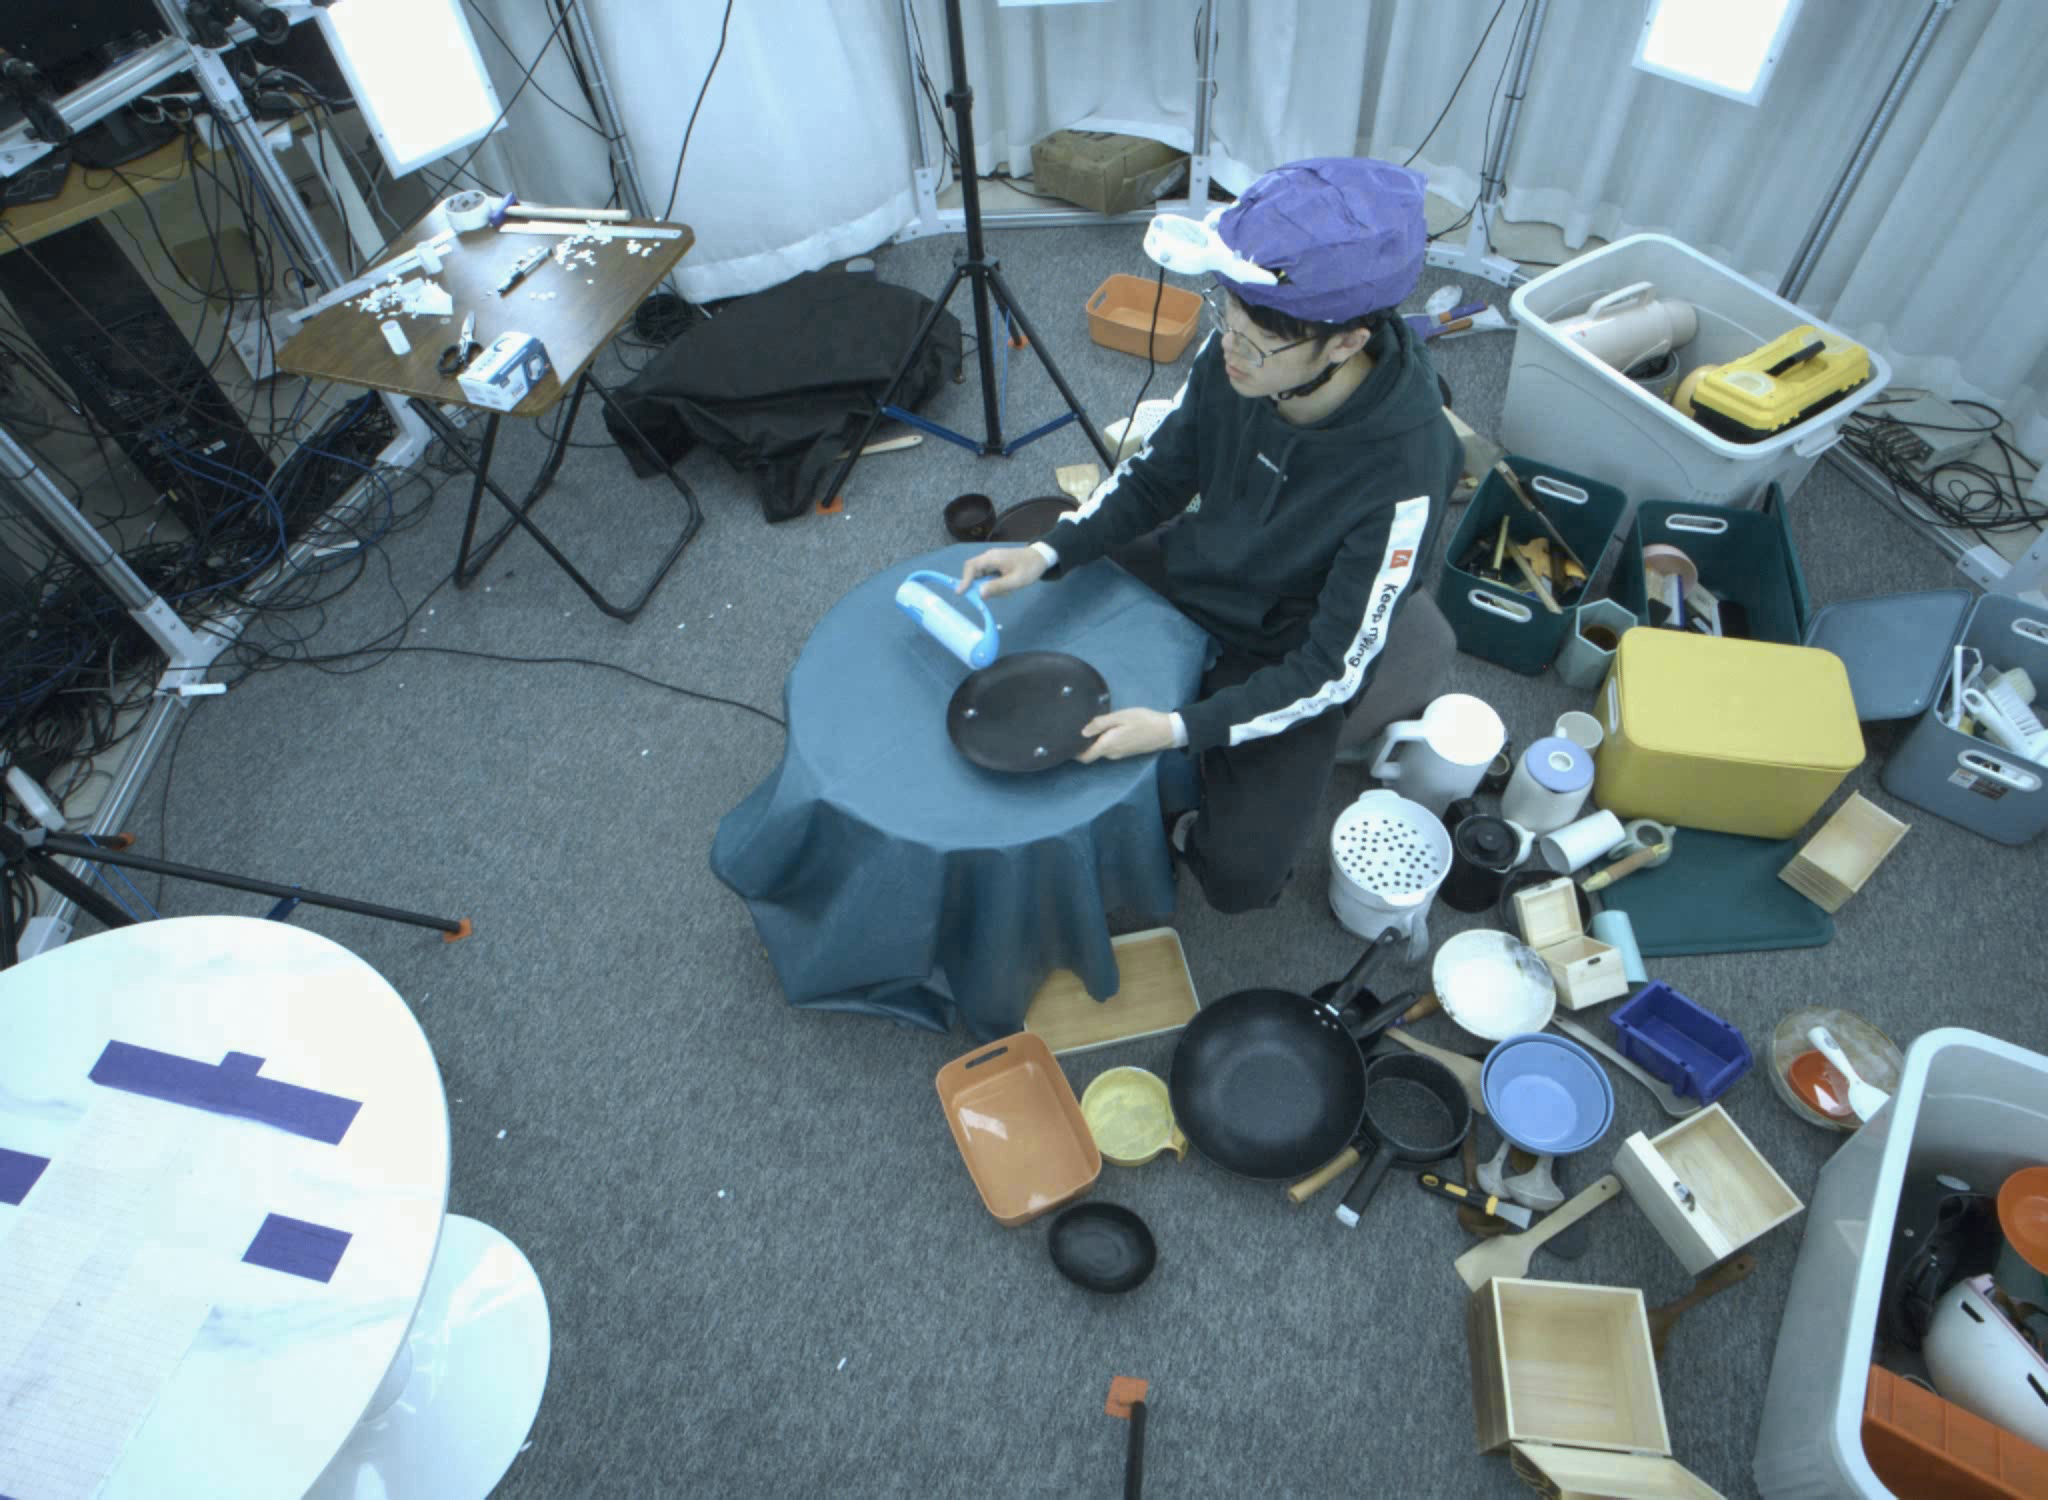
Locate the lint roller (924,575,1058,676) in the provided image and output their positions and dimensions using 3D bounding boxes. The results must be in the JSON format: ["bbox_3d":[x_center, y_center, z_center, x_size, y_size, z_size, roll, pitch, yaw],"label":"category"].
[{"bbox_3d":[-0.028,-0.215,1.830,0.181,0.069,0.224,-39,52,-18],"label":"lint roller"}]

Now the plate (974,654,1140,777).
[{"bbox_3d":[0.048,-0.047,1.786,0.243,0.024,0.242,-4,48,6],"label":"plate"}]
